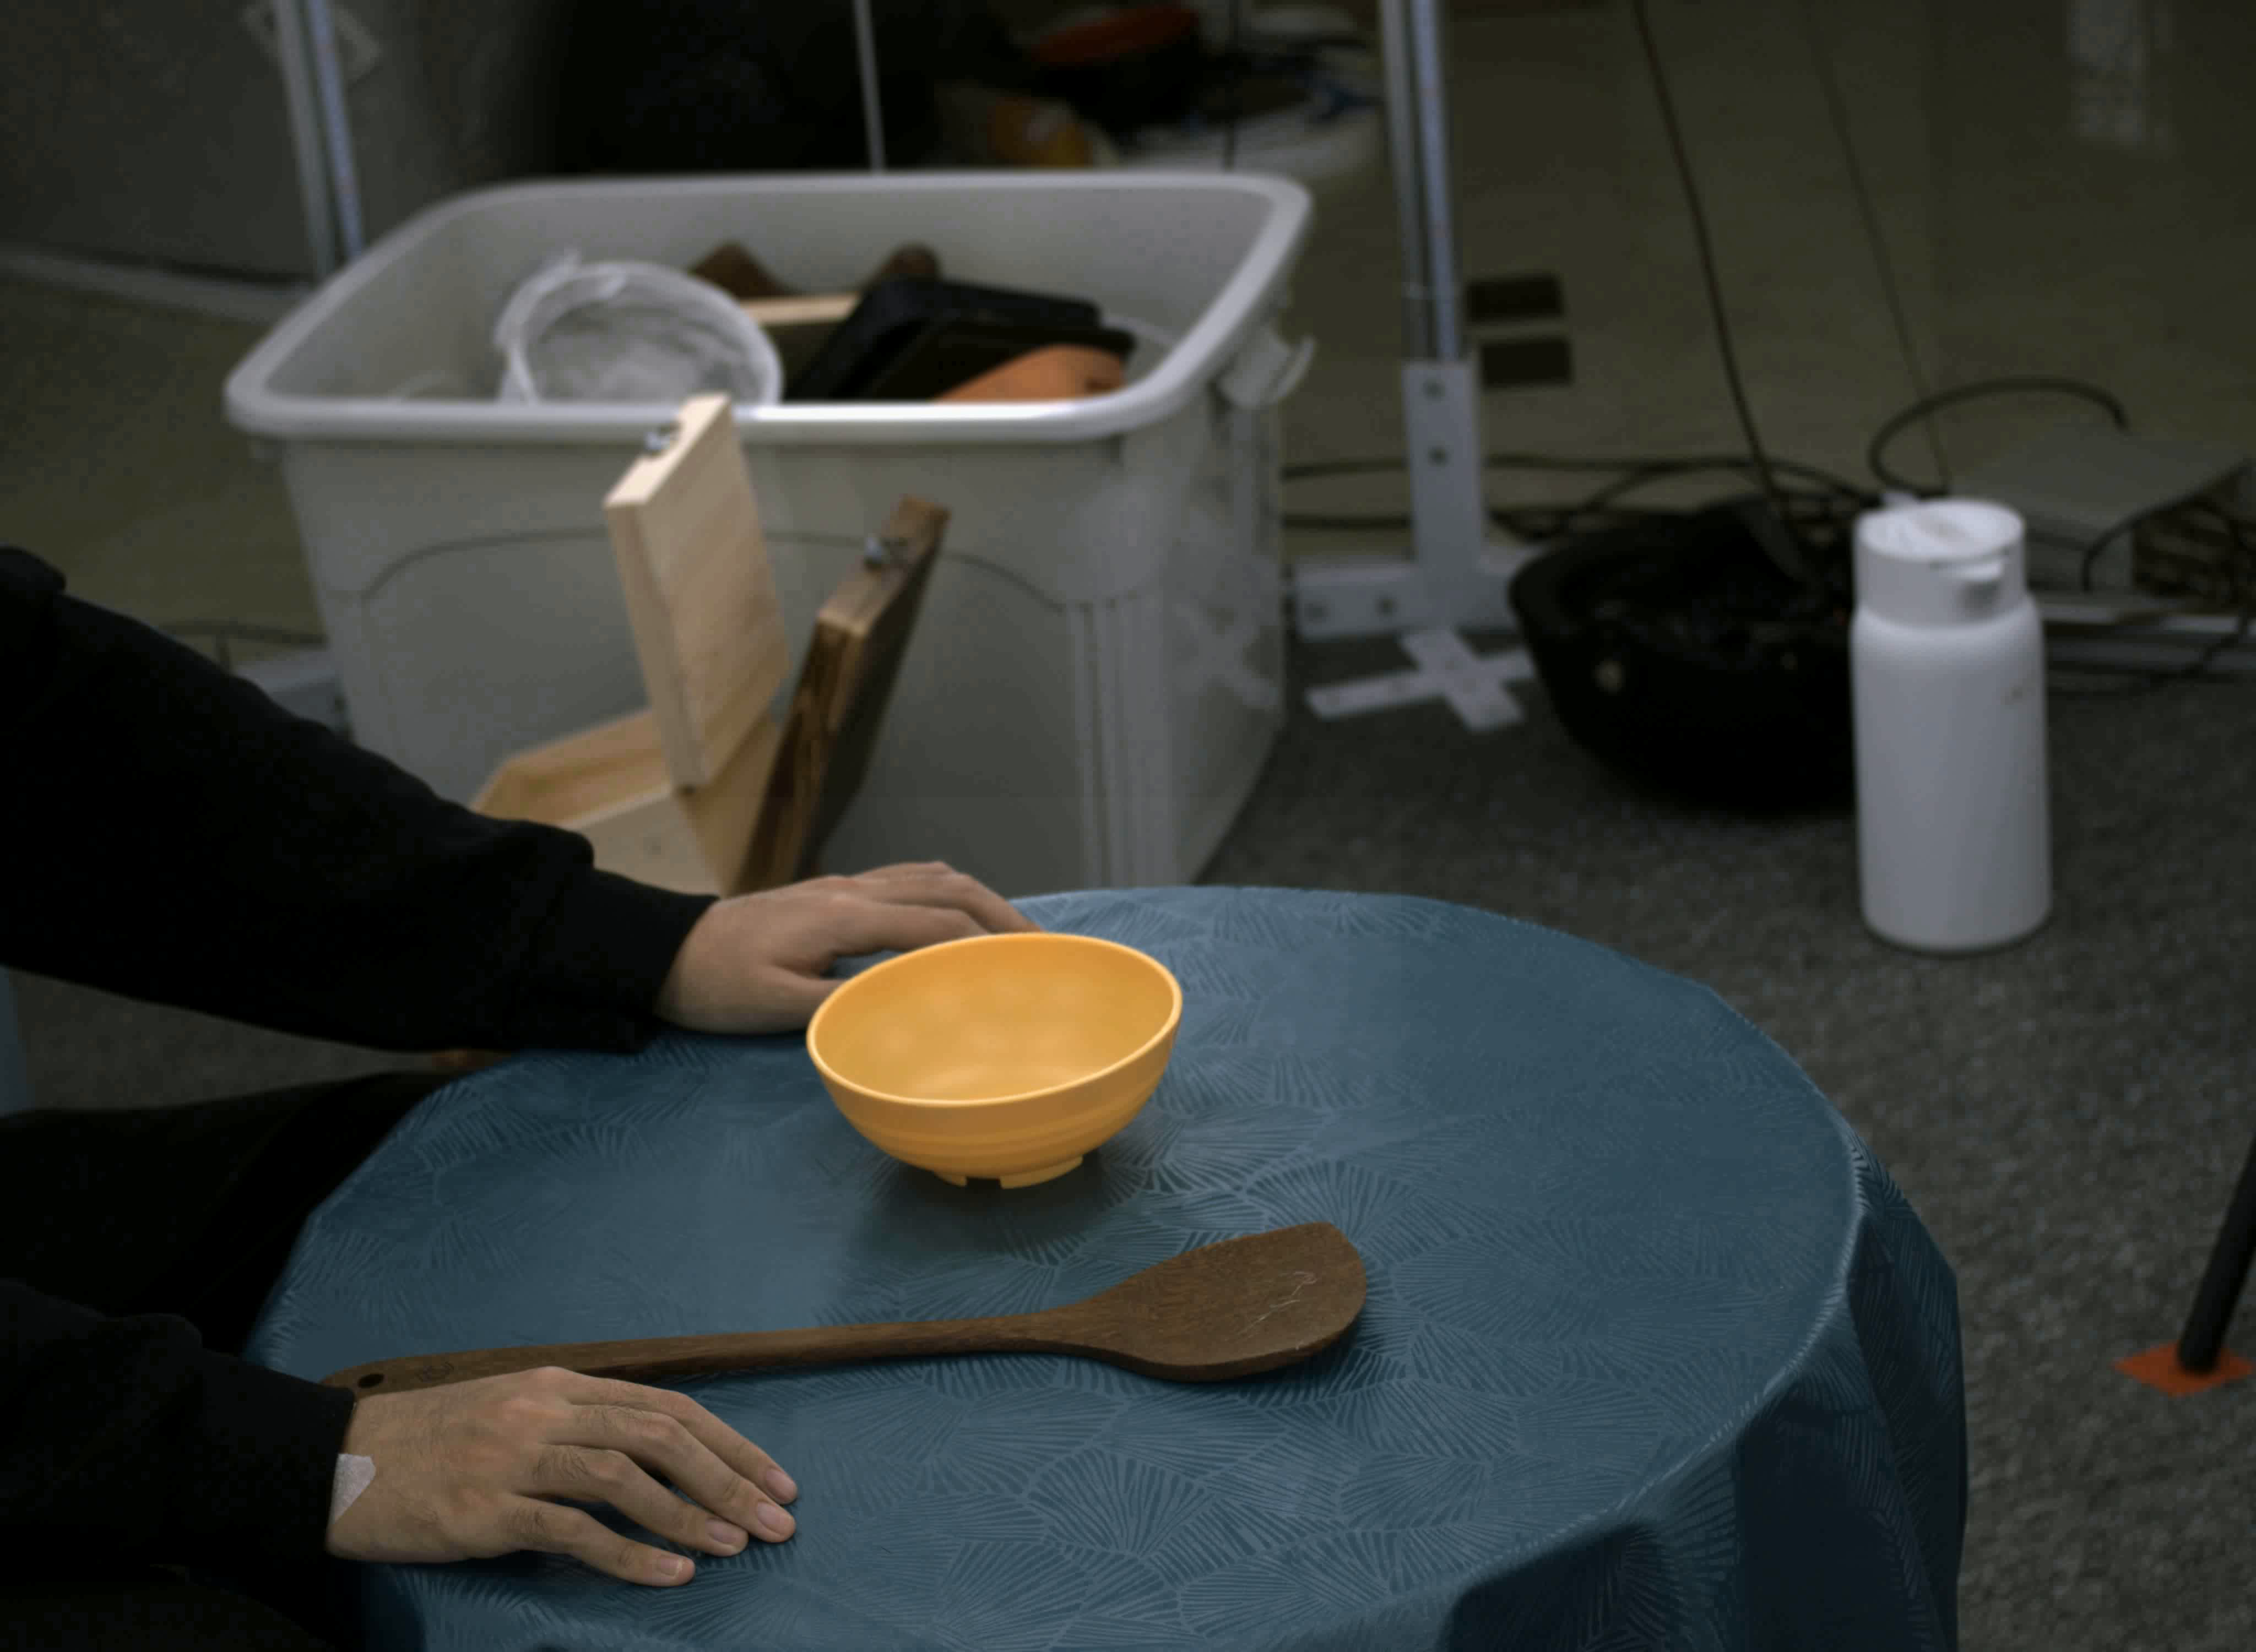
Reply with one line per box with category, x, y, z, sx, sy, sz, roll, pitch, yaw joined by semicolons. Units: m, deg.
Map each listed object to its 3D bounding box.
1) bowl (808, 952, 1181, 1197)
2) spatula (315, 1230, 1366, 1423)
bowl;-0.048;0.102;2.179;0.145;0.061;0.143;-6;22;3
spatula;-0.105;0.188;2.057;0.385;0.016;0.095;-5;24;3
